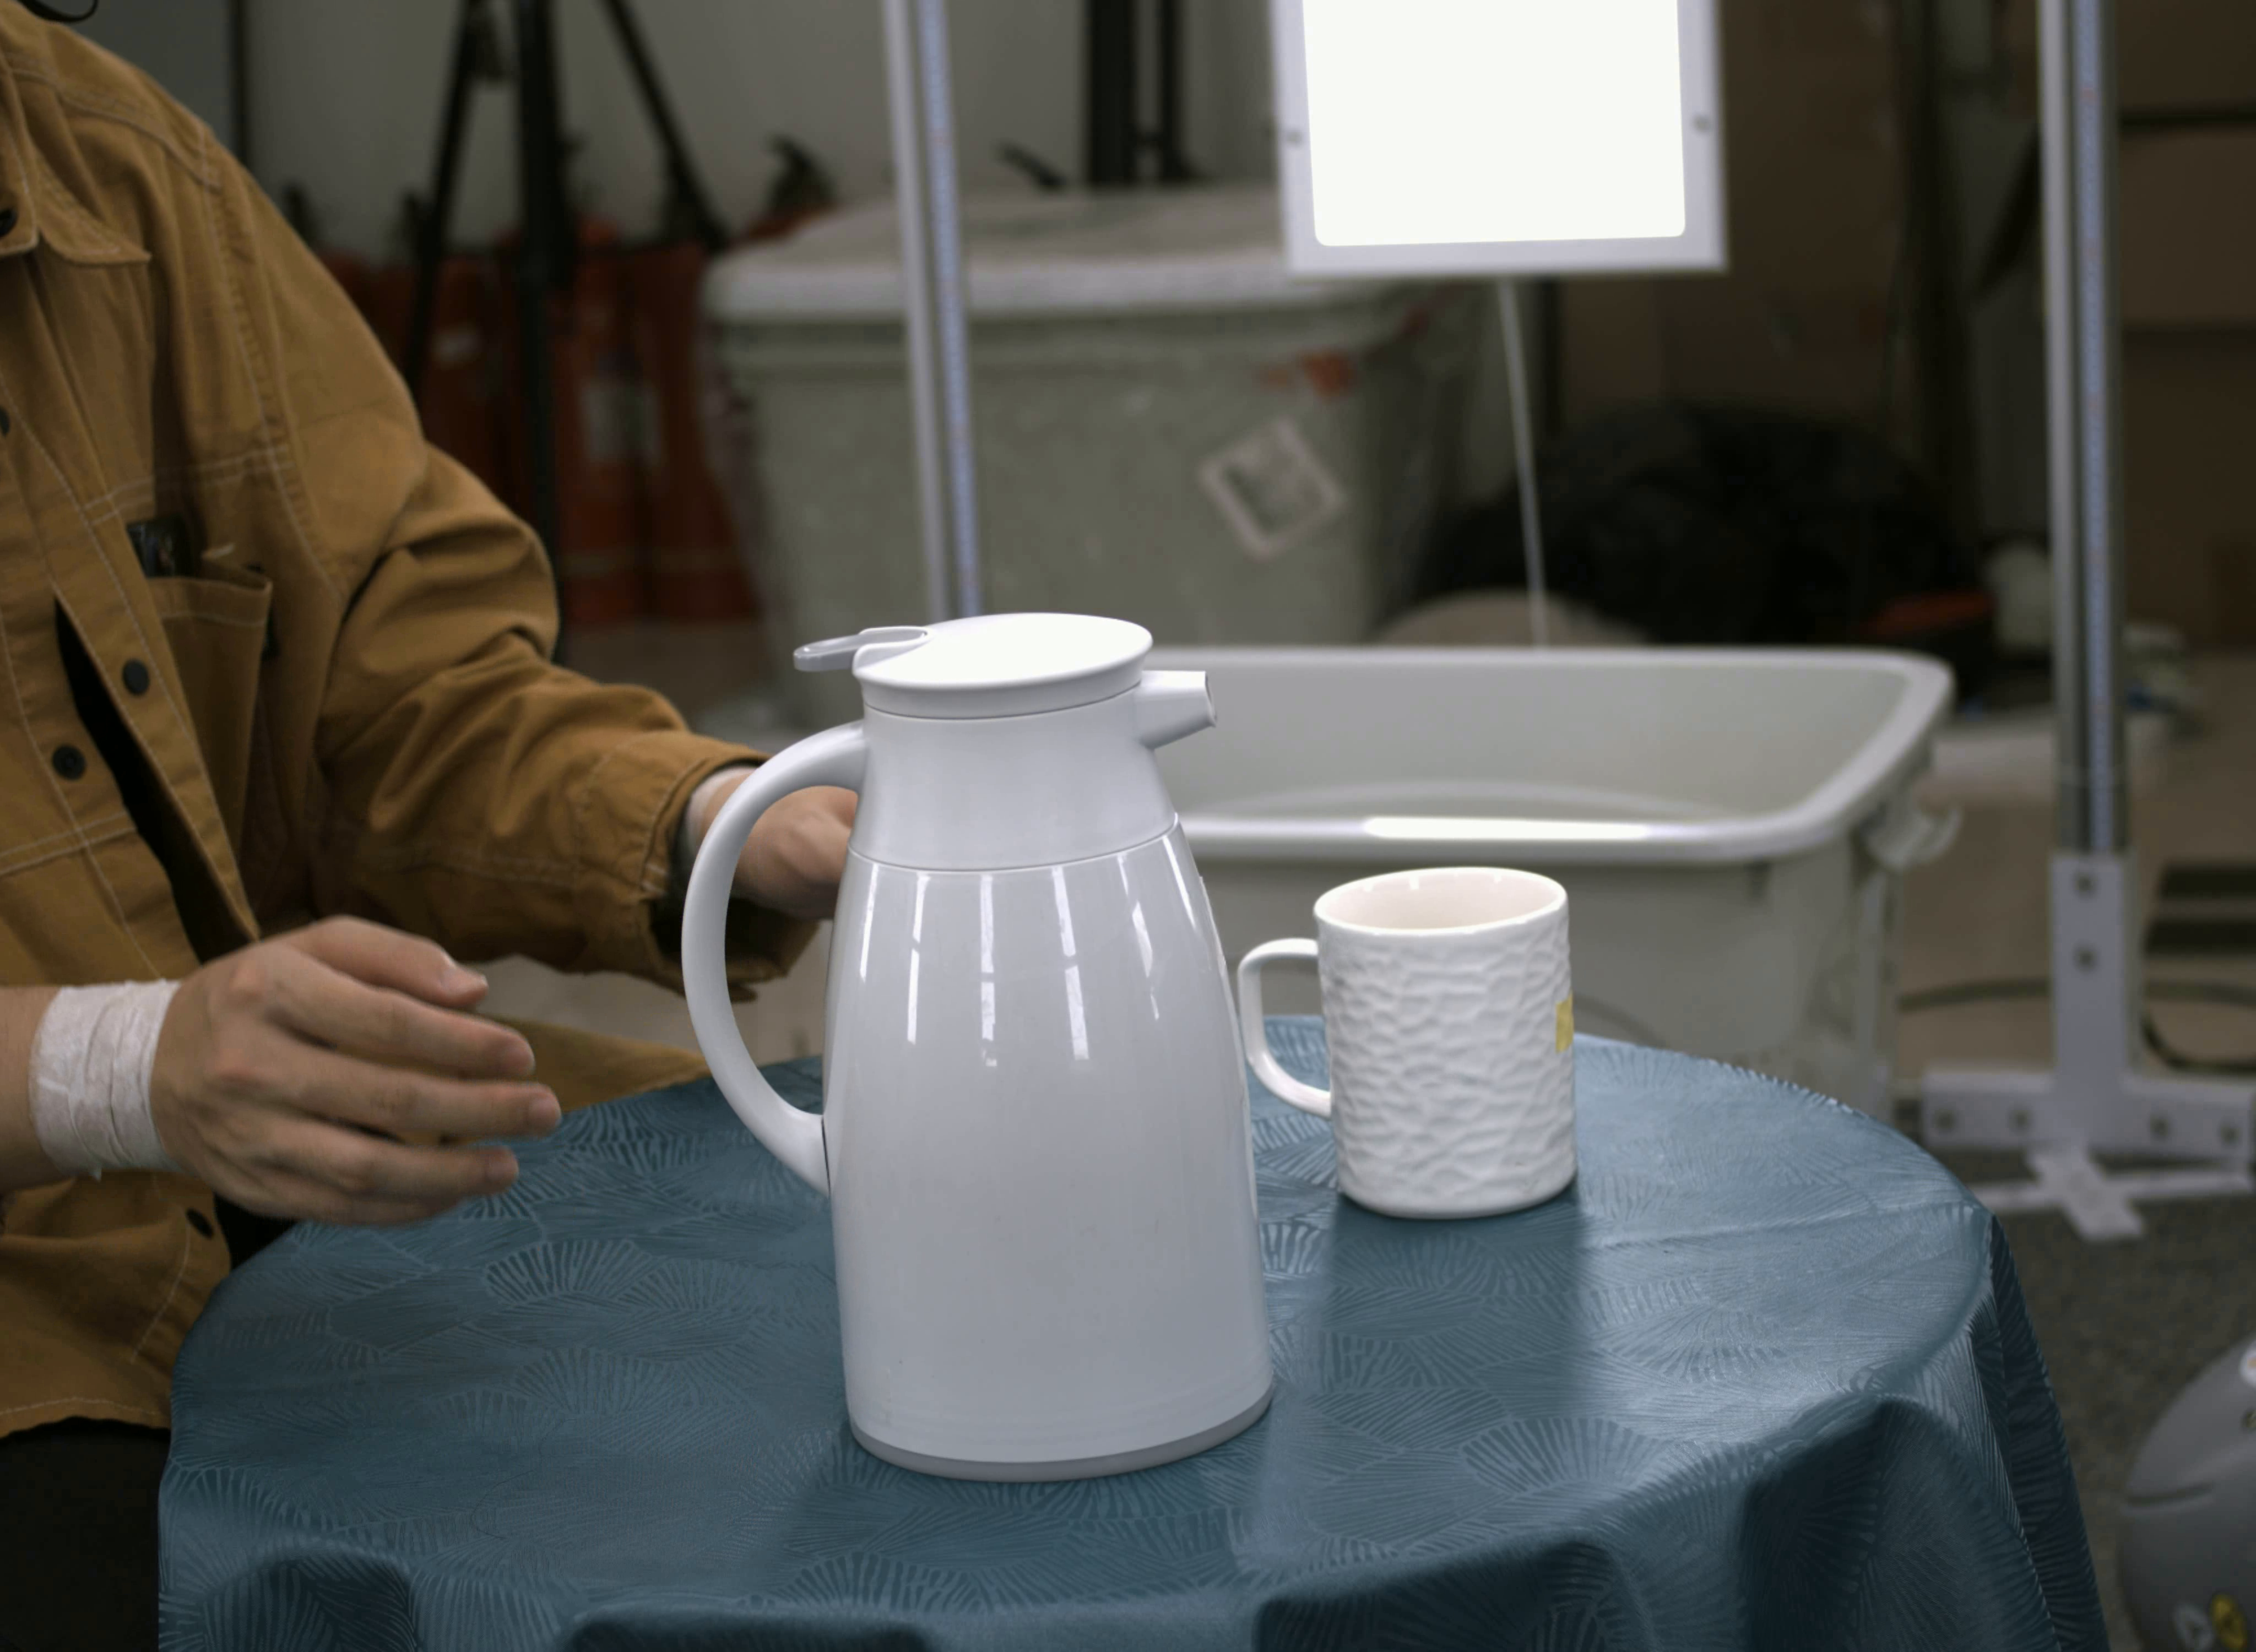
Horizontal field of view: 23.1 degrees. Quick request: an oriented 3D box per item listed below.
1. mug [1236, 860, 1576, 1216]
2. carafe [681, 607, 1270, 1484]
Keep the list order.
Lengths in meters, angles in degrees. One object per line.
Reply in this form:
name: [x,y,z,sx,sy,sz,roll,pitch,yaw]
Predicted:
mug: [0.094,0.071,1.867,0.120,0.102,0.083,3,16,23]
carafe: [-0.049,0.061,1.663,0.167,0.249,0.132,-4,14,3]
